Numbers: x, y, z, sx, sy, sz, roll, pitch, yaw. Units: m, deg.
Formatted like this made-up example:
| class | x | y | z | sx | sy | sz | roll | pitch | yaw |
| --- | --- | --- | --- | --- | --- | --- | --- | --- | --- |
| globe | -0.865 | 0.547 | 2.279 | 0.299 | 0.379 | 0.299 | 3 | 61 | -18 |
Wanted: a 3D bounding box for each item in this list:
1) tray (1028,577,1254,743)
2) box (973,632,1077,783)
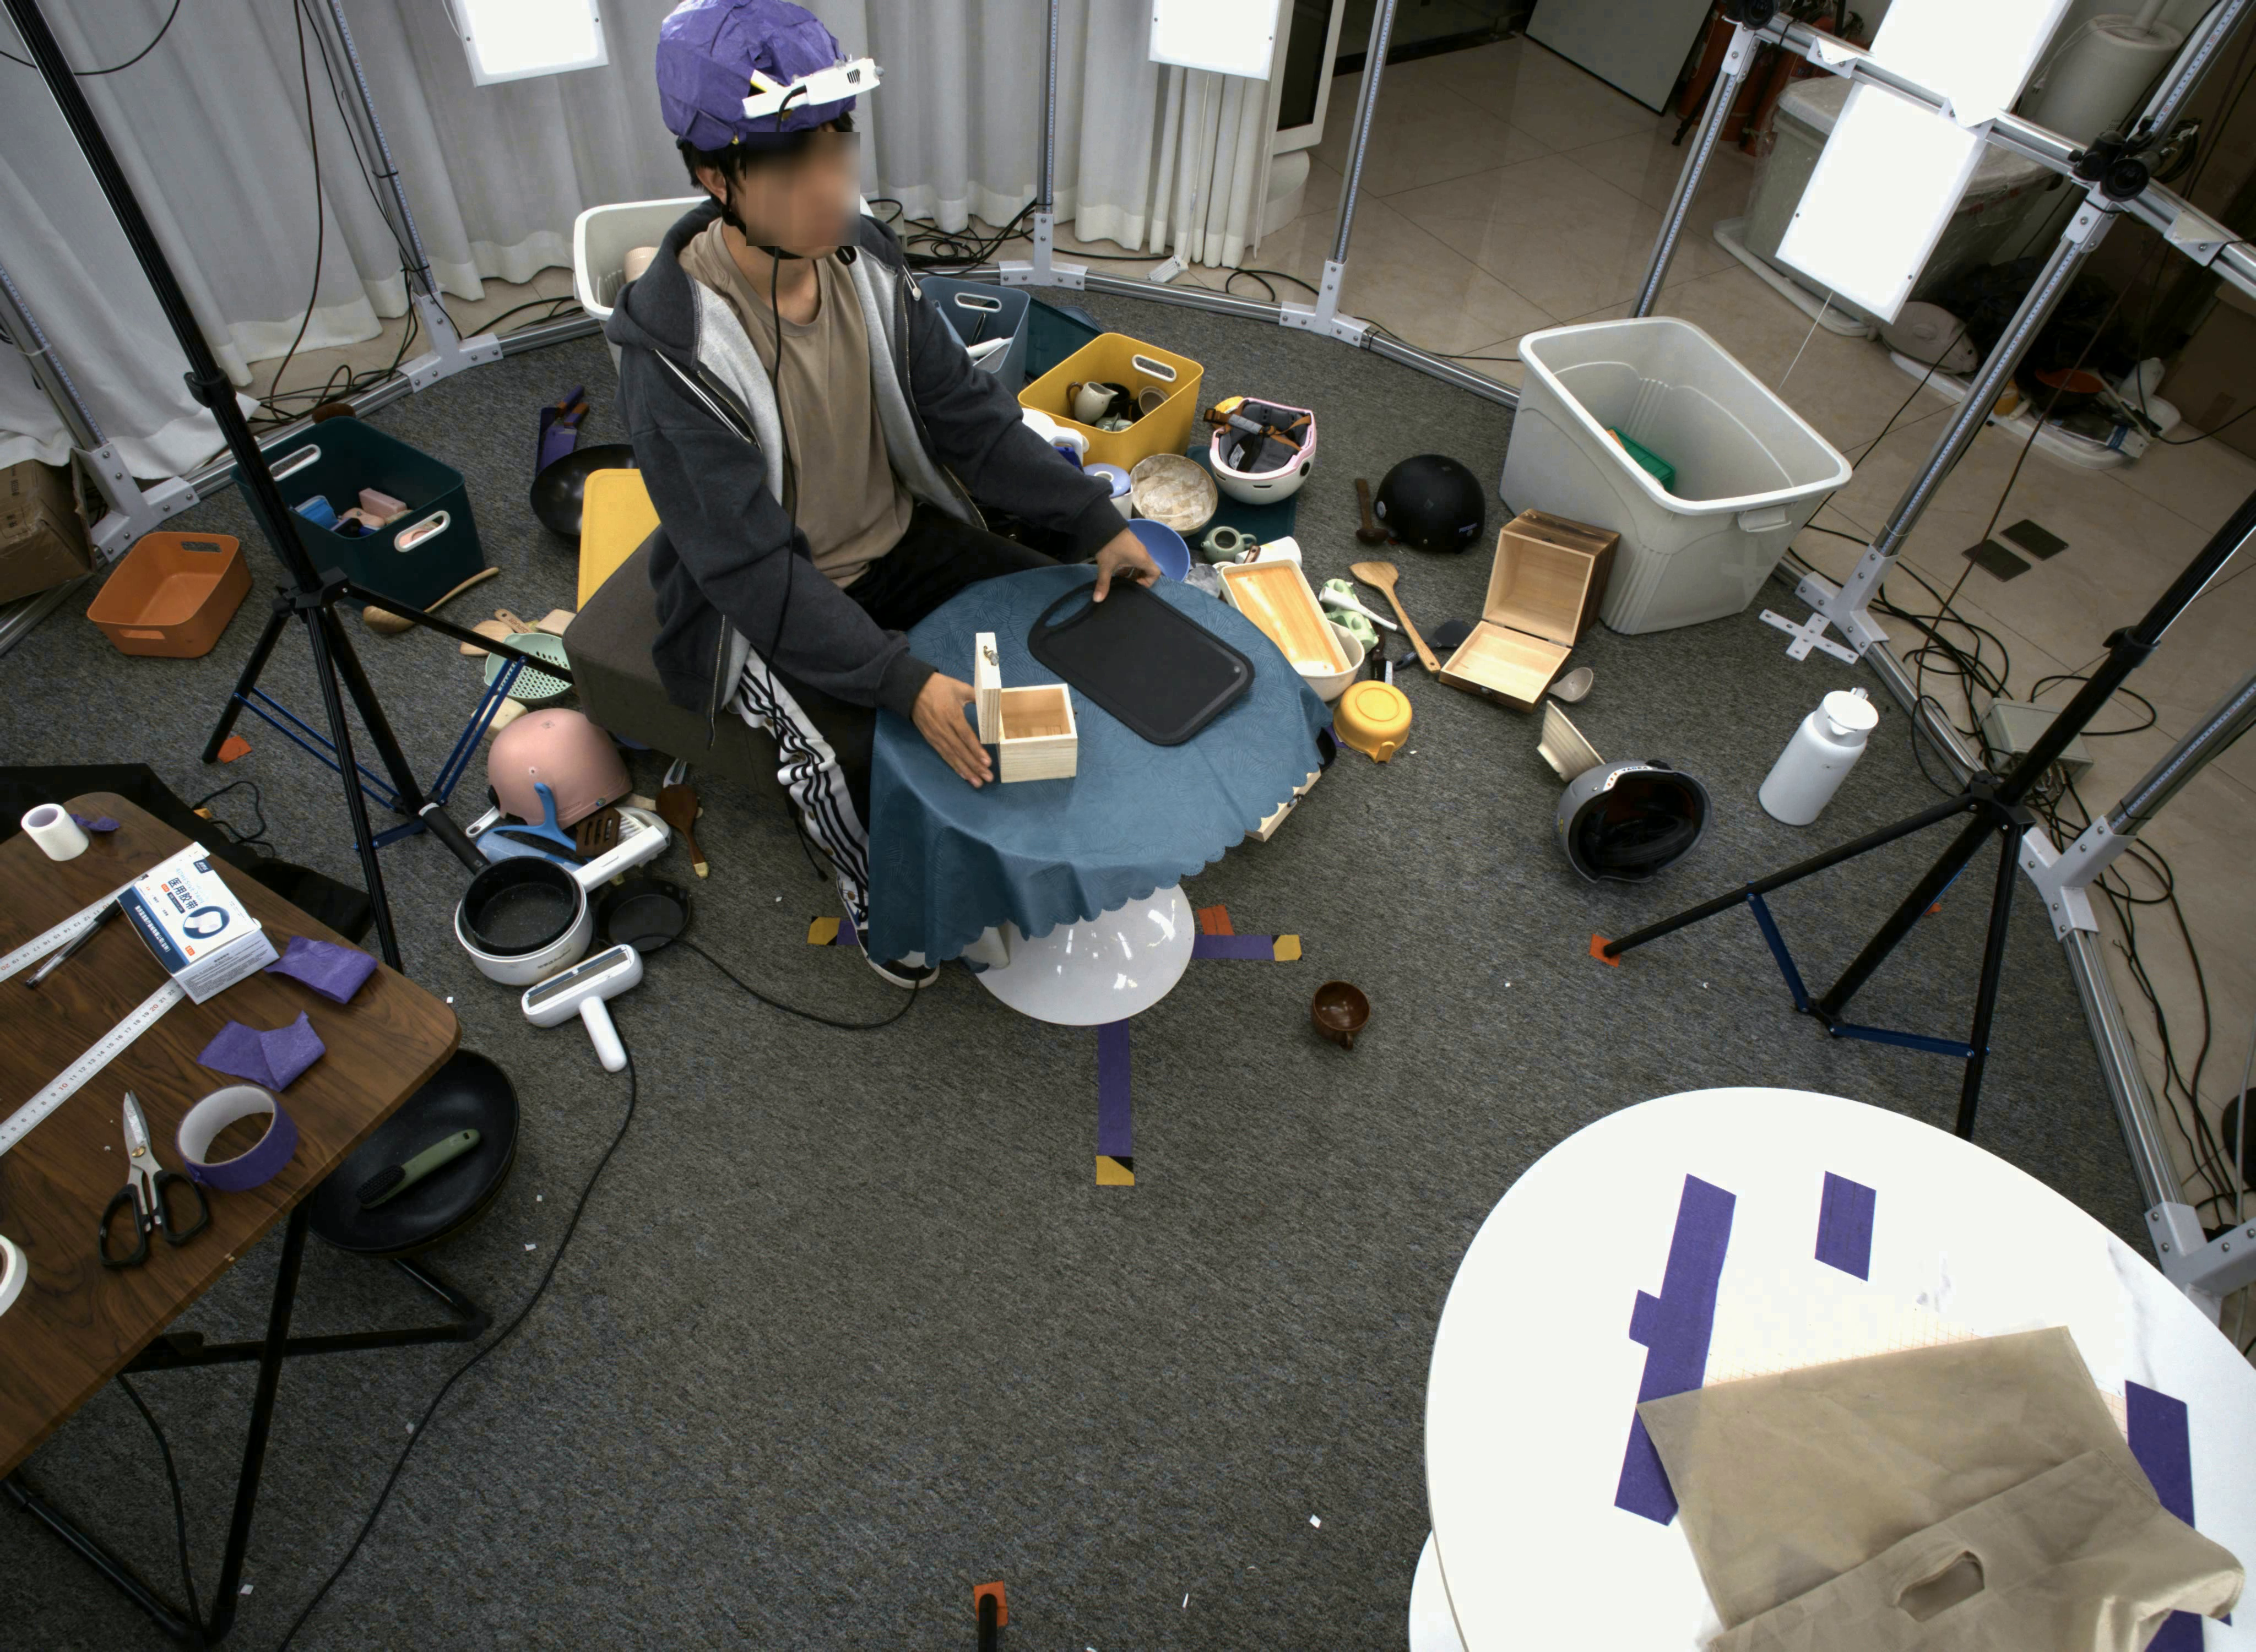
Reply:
| class | x | y | z | sx | sy | sz | roll | pitch | yaw |
| --- | --- | --- | --- | --- | --- | --- | --- | --- | --- |
| tray | 0.010 | -0.252 | 1.866 | 0.213 | 0.009 | 0.330 | -39 | 61 | -24 |
| box | -0.132 | -0.157 | 1.674 | 0.134 | 0.180 | 0.105 | -6 | 50 | -8 |
